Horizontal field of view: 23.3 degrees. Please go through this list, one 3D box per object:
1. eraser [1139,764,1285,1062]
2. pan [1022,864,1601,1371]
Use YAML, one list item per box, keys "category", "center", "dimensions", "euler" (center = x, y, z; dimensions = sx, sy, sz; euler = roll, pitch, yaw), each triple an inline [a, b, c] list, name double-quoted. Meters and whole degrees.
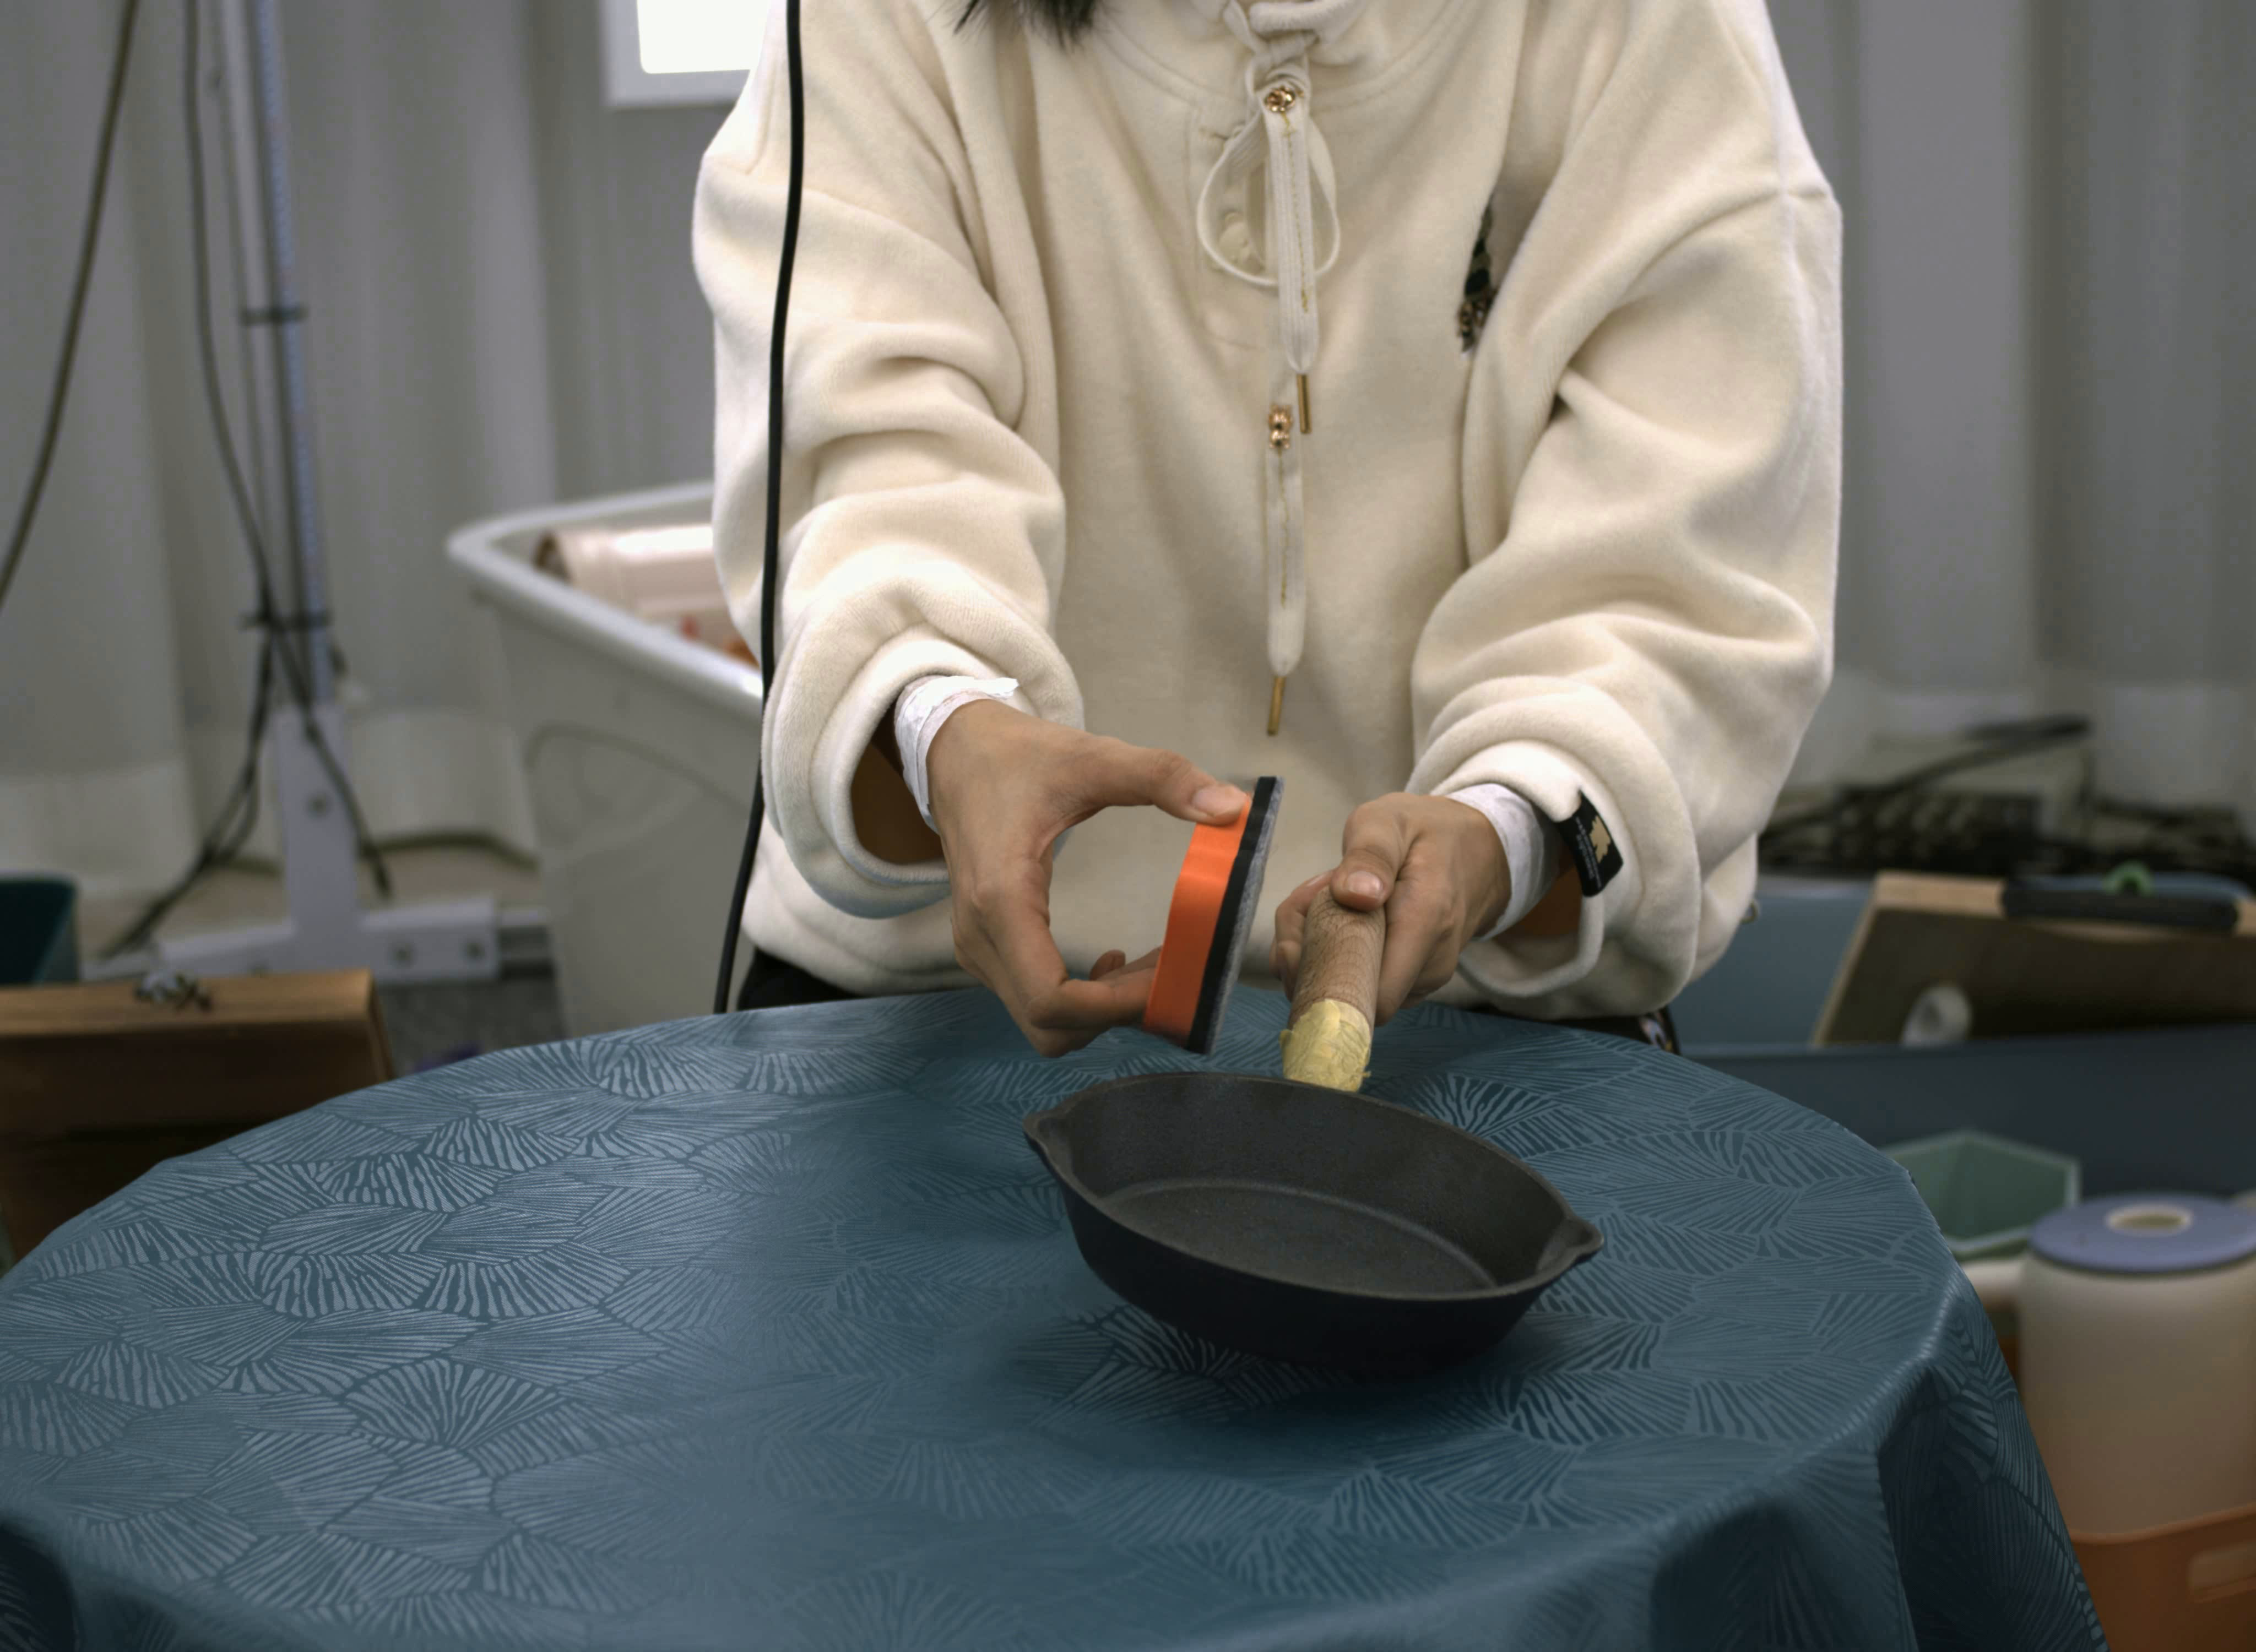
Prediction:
- category: "eraser"
  center: [0.026, 0.026, 1.692]
  dimensions: [0.023, 0.058, 0.109]
  euler: [14, 24, 4]
- category: "pan"
  center: [0.059, 0.082, 1.646]
  dimensions: [0.168, 0.049, 0.326]
  euler: [11, 19, 2]
